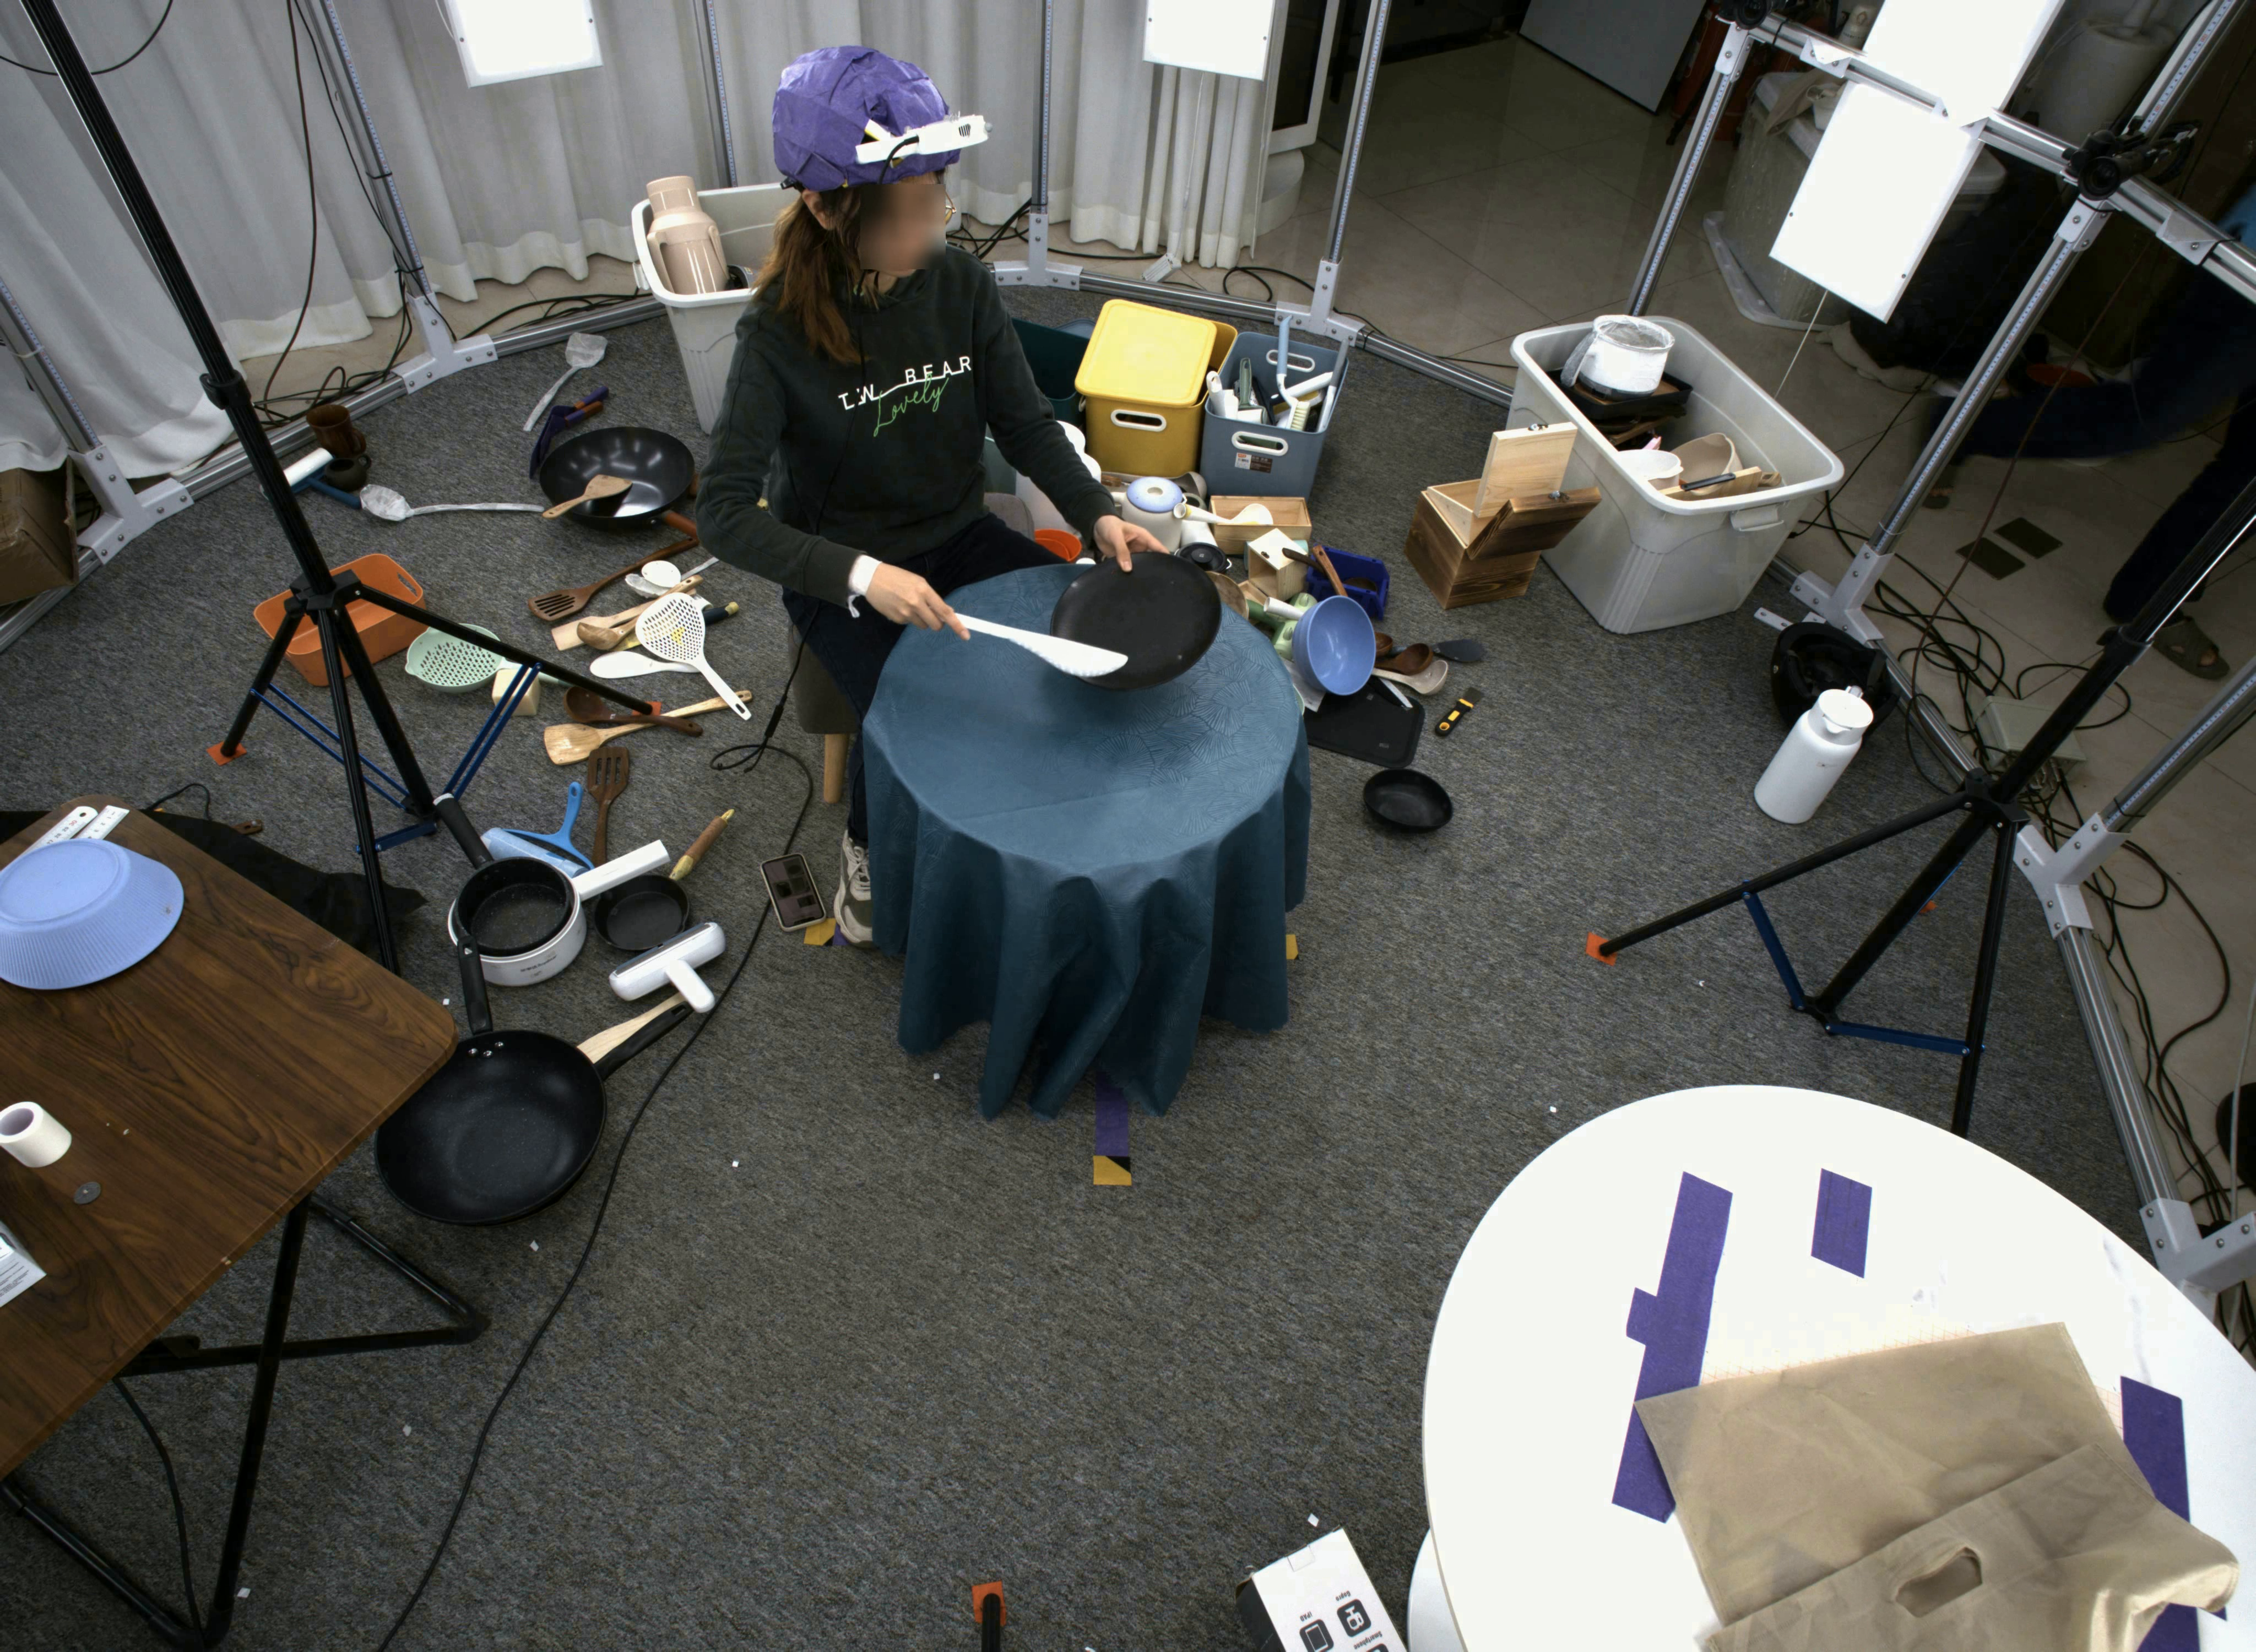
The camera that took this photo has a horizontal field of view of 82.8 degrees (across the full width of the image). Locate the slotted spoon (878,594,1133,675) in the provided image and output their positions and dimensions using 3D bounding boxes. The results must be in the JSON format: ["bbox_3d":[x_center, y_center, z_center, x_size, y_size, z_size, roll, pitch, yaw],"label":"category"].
[{"bbox_3d":[-0.164,-0.261,1.713,0.350,0.045,0.136,19,7,7],"label":"slotted spoon"}]

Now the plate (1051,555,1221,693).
[{"bbox_3d":[0.012,-0.283,1.811,0.244,0.023,0.250,-6,57,10],"label":"plate"}]
